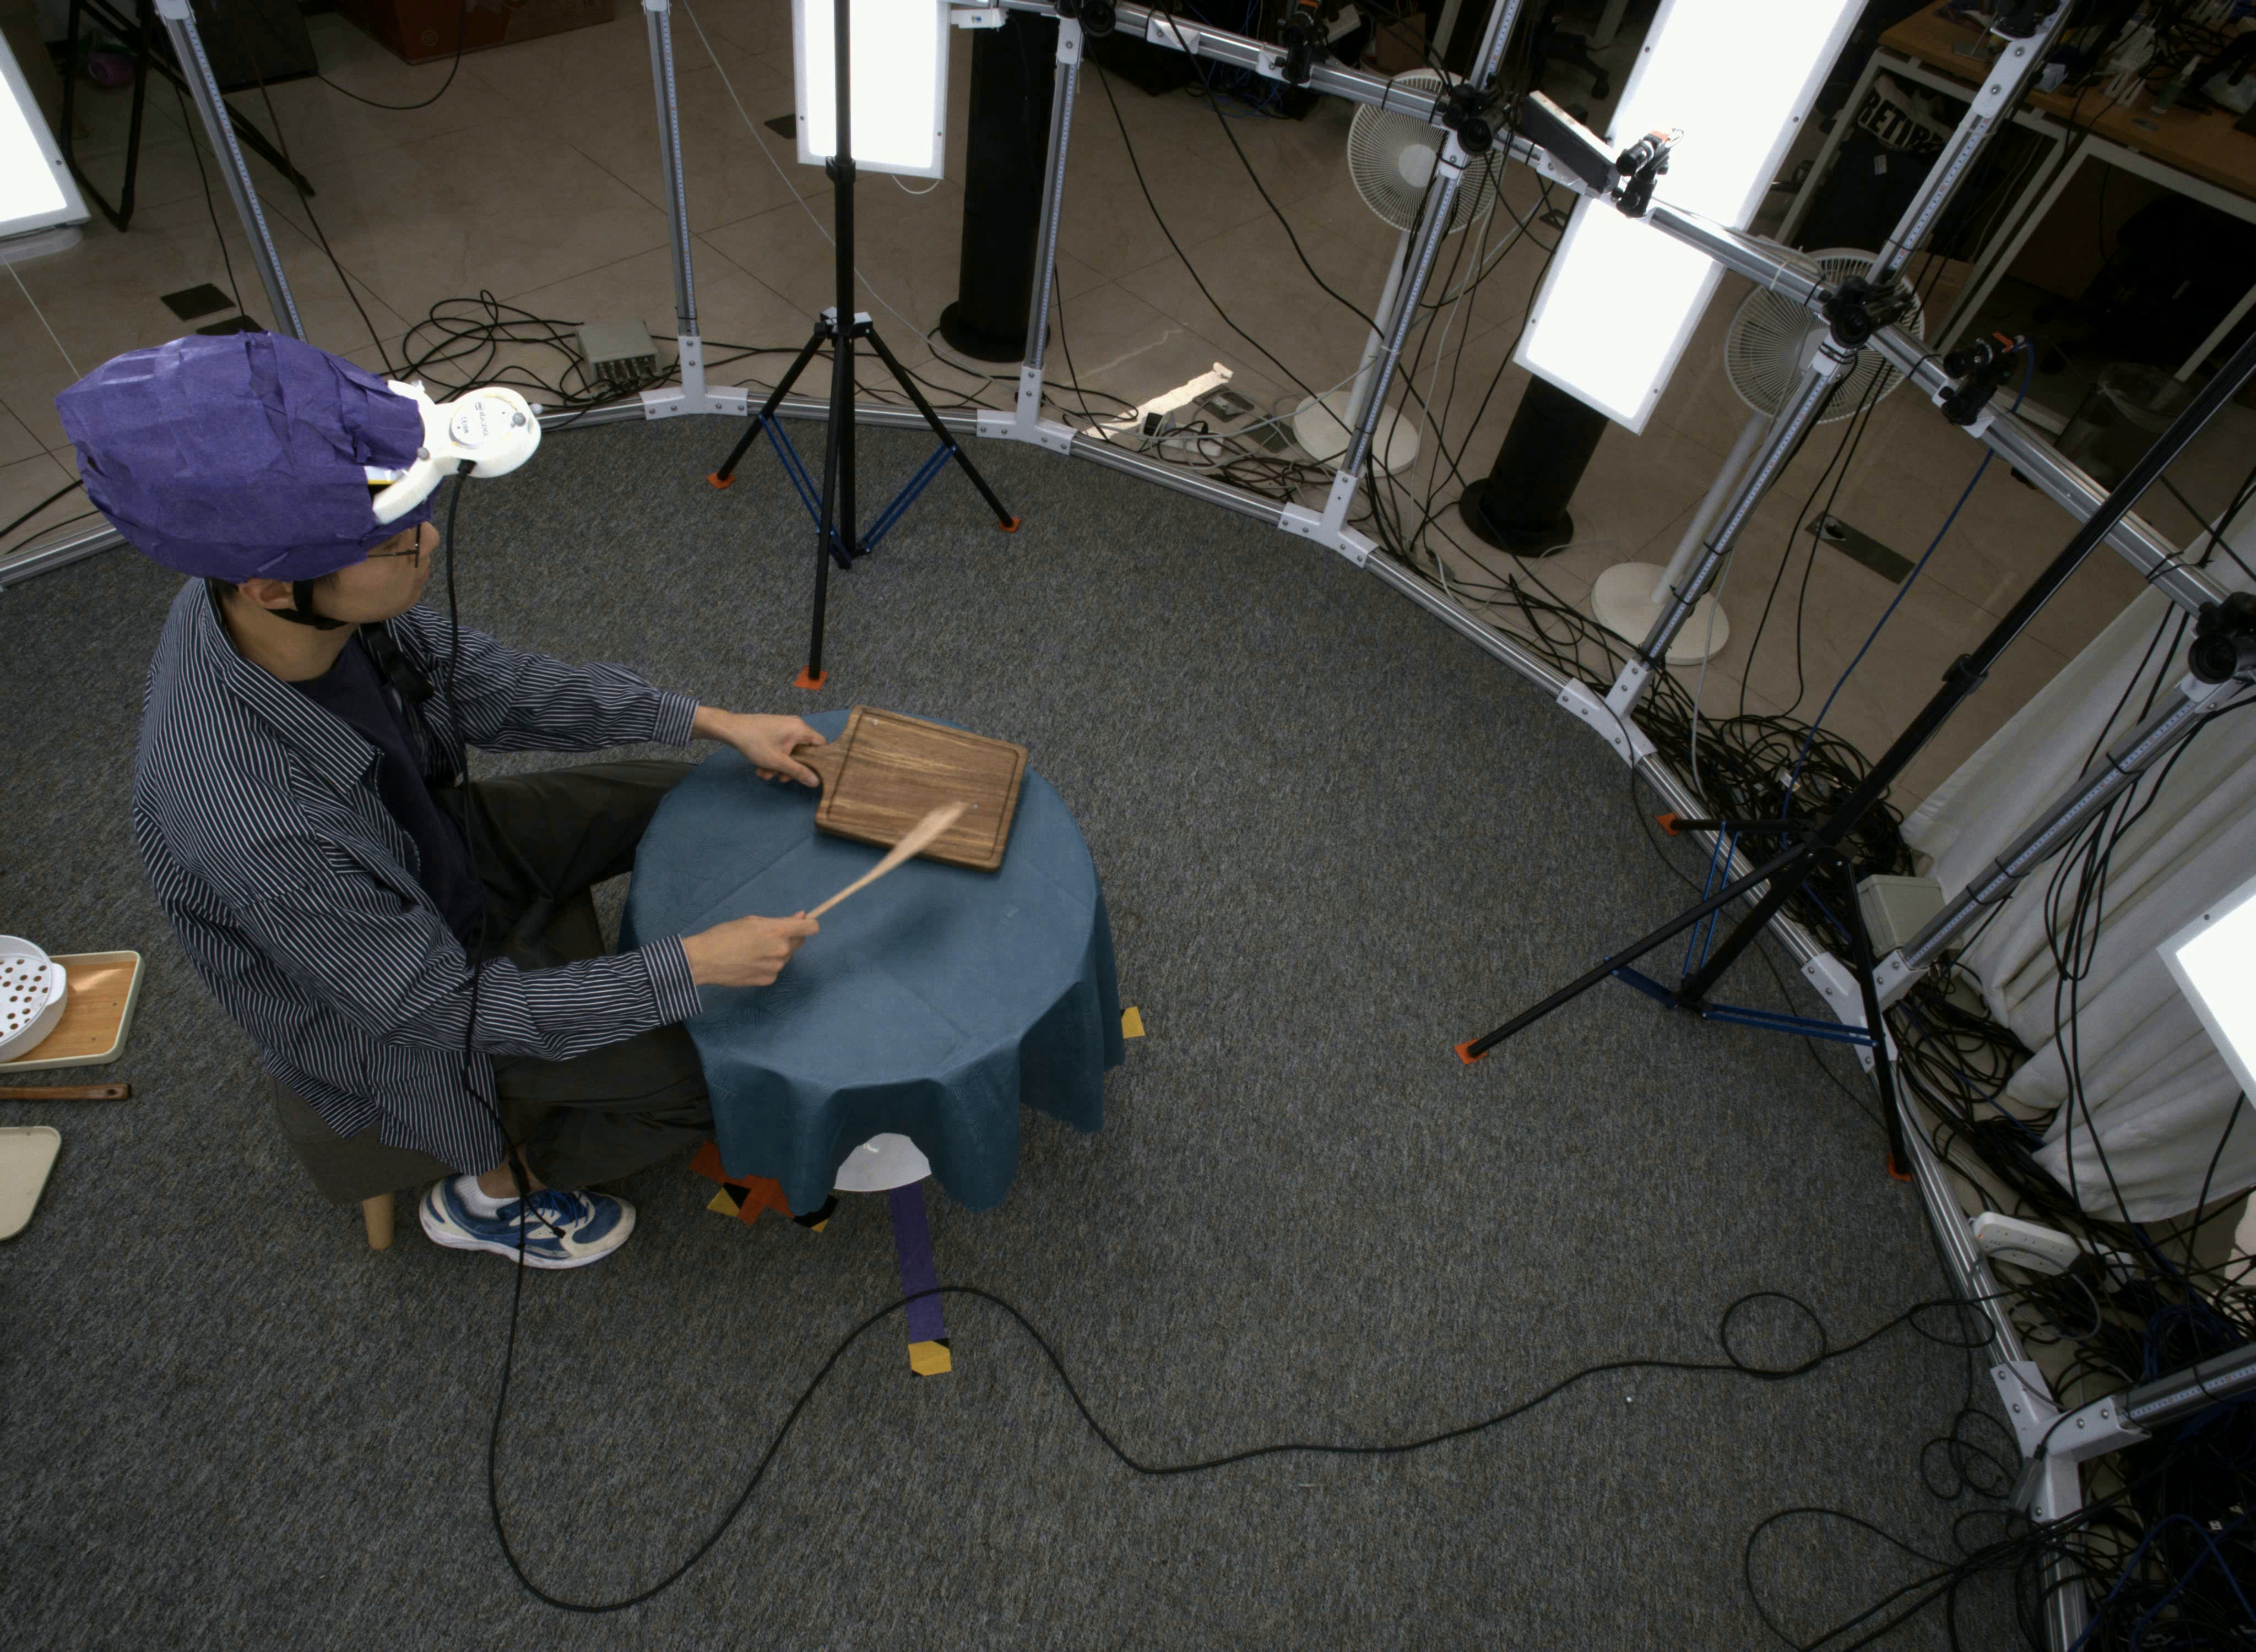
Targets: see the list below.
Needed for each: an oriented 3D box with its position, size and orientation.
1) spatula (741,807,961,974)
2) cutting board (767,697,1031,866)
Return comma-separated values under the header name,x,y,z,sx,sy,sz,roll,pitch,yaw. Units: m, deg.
name,x,y,z,sx,sy,sz,roll,pitch,yaw
spatula,-0.340,0.074,1.592,0.327,0.077,0.017,-37,110,-16
cutting board,-0.319,-0.076,1.774,0.352,0.023,0.199,15,60,-8
